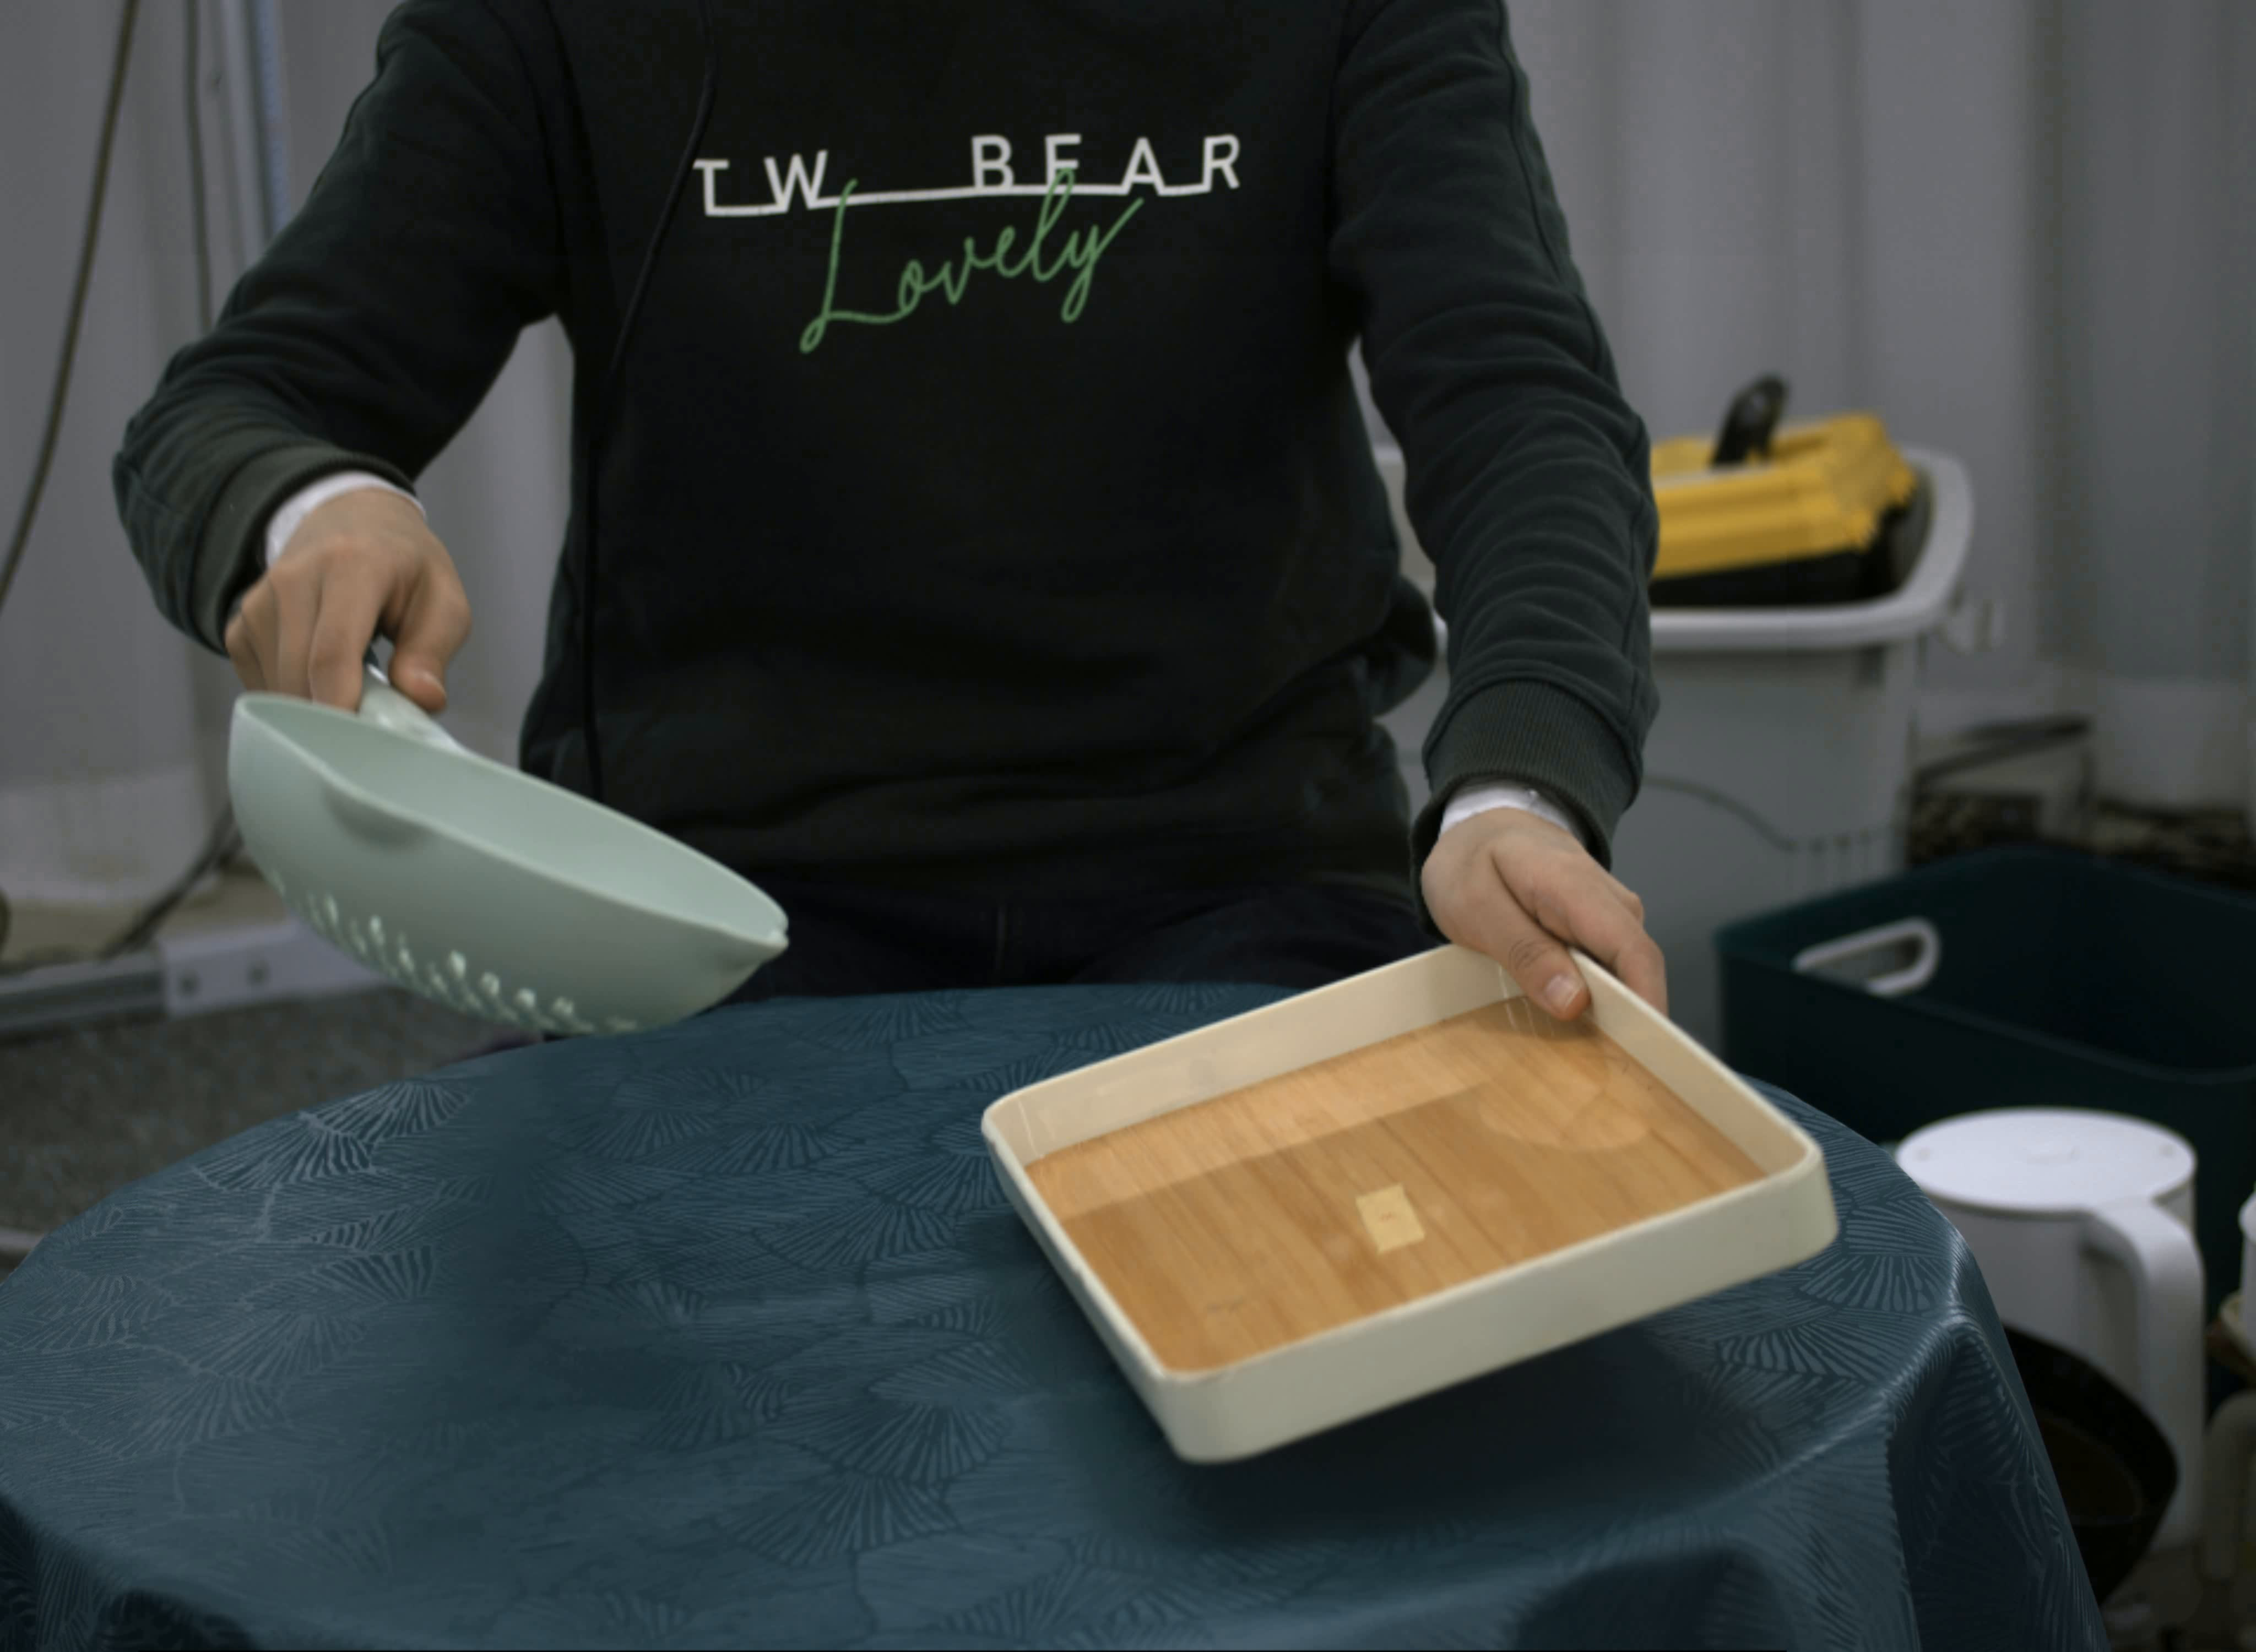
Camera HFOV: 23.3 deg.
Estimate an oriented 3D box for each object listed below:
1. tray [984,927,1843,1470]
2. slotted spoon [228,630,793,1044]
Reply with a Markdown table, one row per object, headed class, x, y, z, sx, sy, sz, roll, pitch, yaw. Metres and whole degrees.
| class | x | y | z | sx | sy | sz | roll | pitch | yaw |
| --- | --- | --- | --- | --- | --- | --- | --- | --- | --- |
| tray | 0.073 | 0.101 | 1.568 | 0.191 | 0.027 | 0.302 | -18 | 15 | -7 |
| slotted spoon | -0.211 | -0.014 | 1.646 | 0.168 | 0.075 | 0.363 | 22 | 14 | -24 |
